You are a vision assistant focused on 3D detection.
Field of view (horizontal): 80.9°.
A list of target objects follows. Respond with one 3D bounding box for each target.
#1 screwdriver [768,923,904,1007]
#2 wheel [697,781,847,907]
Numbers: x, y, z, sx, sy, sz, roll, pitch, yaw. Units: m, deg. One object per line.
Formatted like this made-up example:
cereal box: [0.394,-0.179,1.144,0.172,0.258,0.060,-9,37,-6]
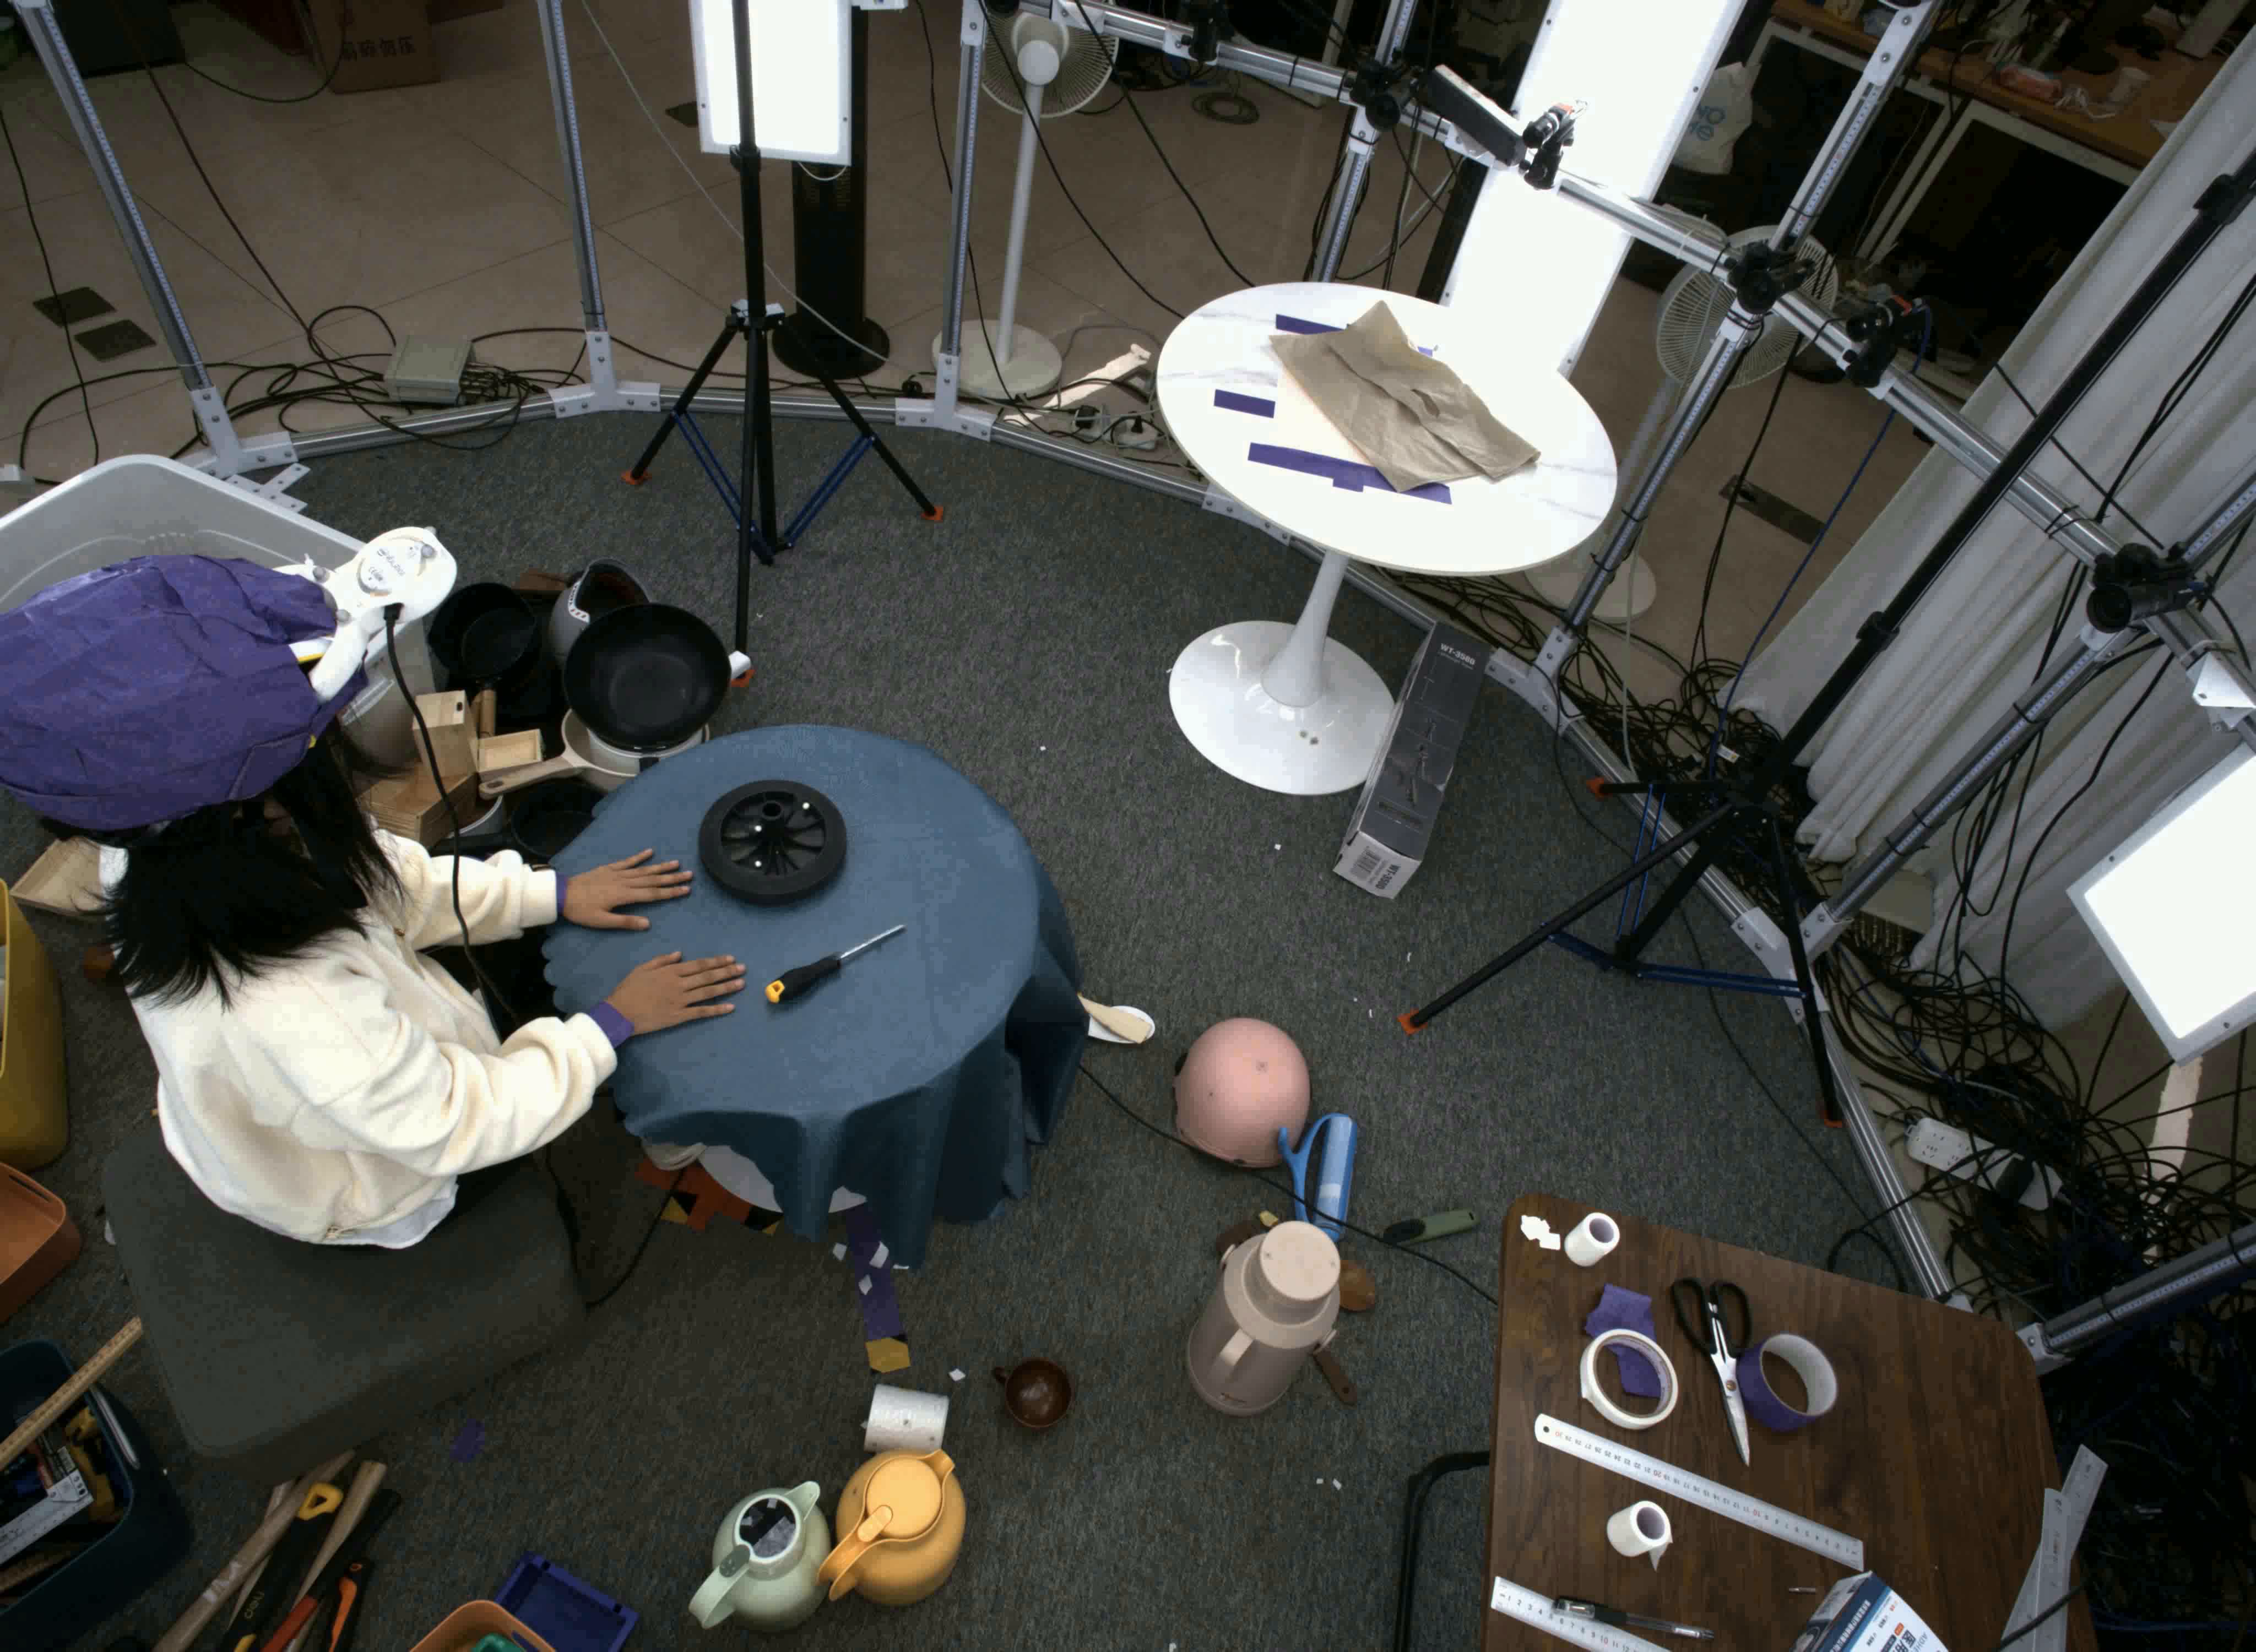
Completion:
screwdriver: [-0.354,0.166,1.597,0.199,0.032,0.031,-27,62,-33]
wheel: [-0.456,0.007,1.657,0.188,0.080,0.186,-34,71,-33]
